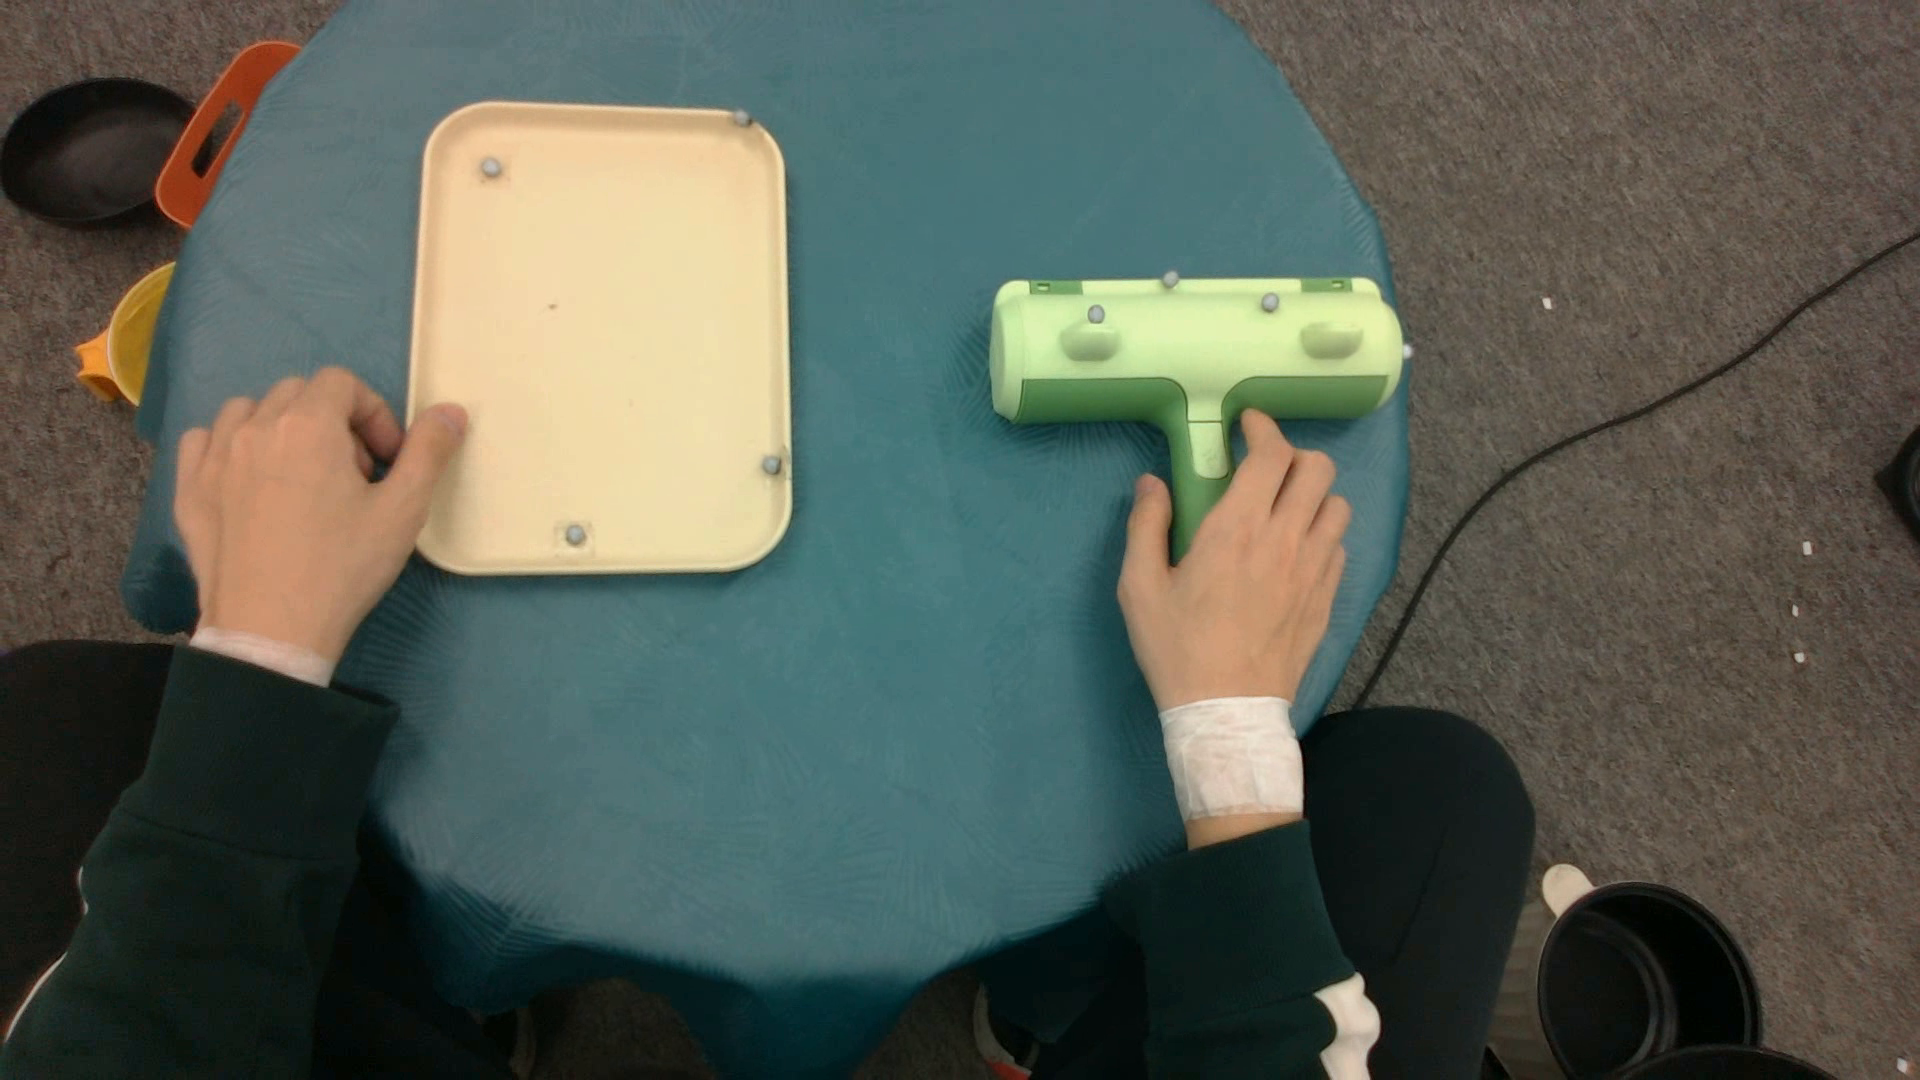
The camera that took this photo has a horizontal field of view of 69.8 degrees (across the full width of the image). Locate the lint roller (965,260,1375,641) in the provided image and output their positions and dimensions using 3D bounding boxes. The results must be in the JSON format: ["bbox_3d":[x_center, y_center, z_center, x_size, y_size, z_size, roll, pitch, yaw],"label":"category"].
[{"bbox_3d":[0.109,-0.050,0.646,0.199,0.082,0.184,-3,69,-9],"label":"lint roller"}]

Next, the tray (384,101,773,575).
[{"bbox_3d":[-0.179,-0.100,0.649,0.171,0.017,0.240,-3,73,-9],"label":"tray"}]
